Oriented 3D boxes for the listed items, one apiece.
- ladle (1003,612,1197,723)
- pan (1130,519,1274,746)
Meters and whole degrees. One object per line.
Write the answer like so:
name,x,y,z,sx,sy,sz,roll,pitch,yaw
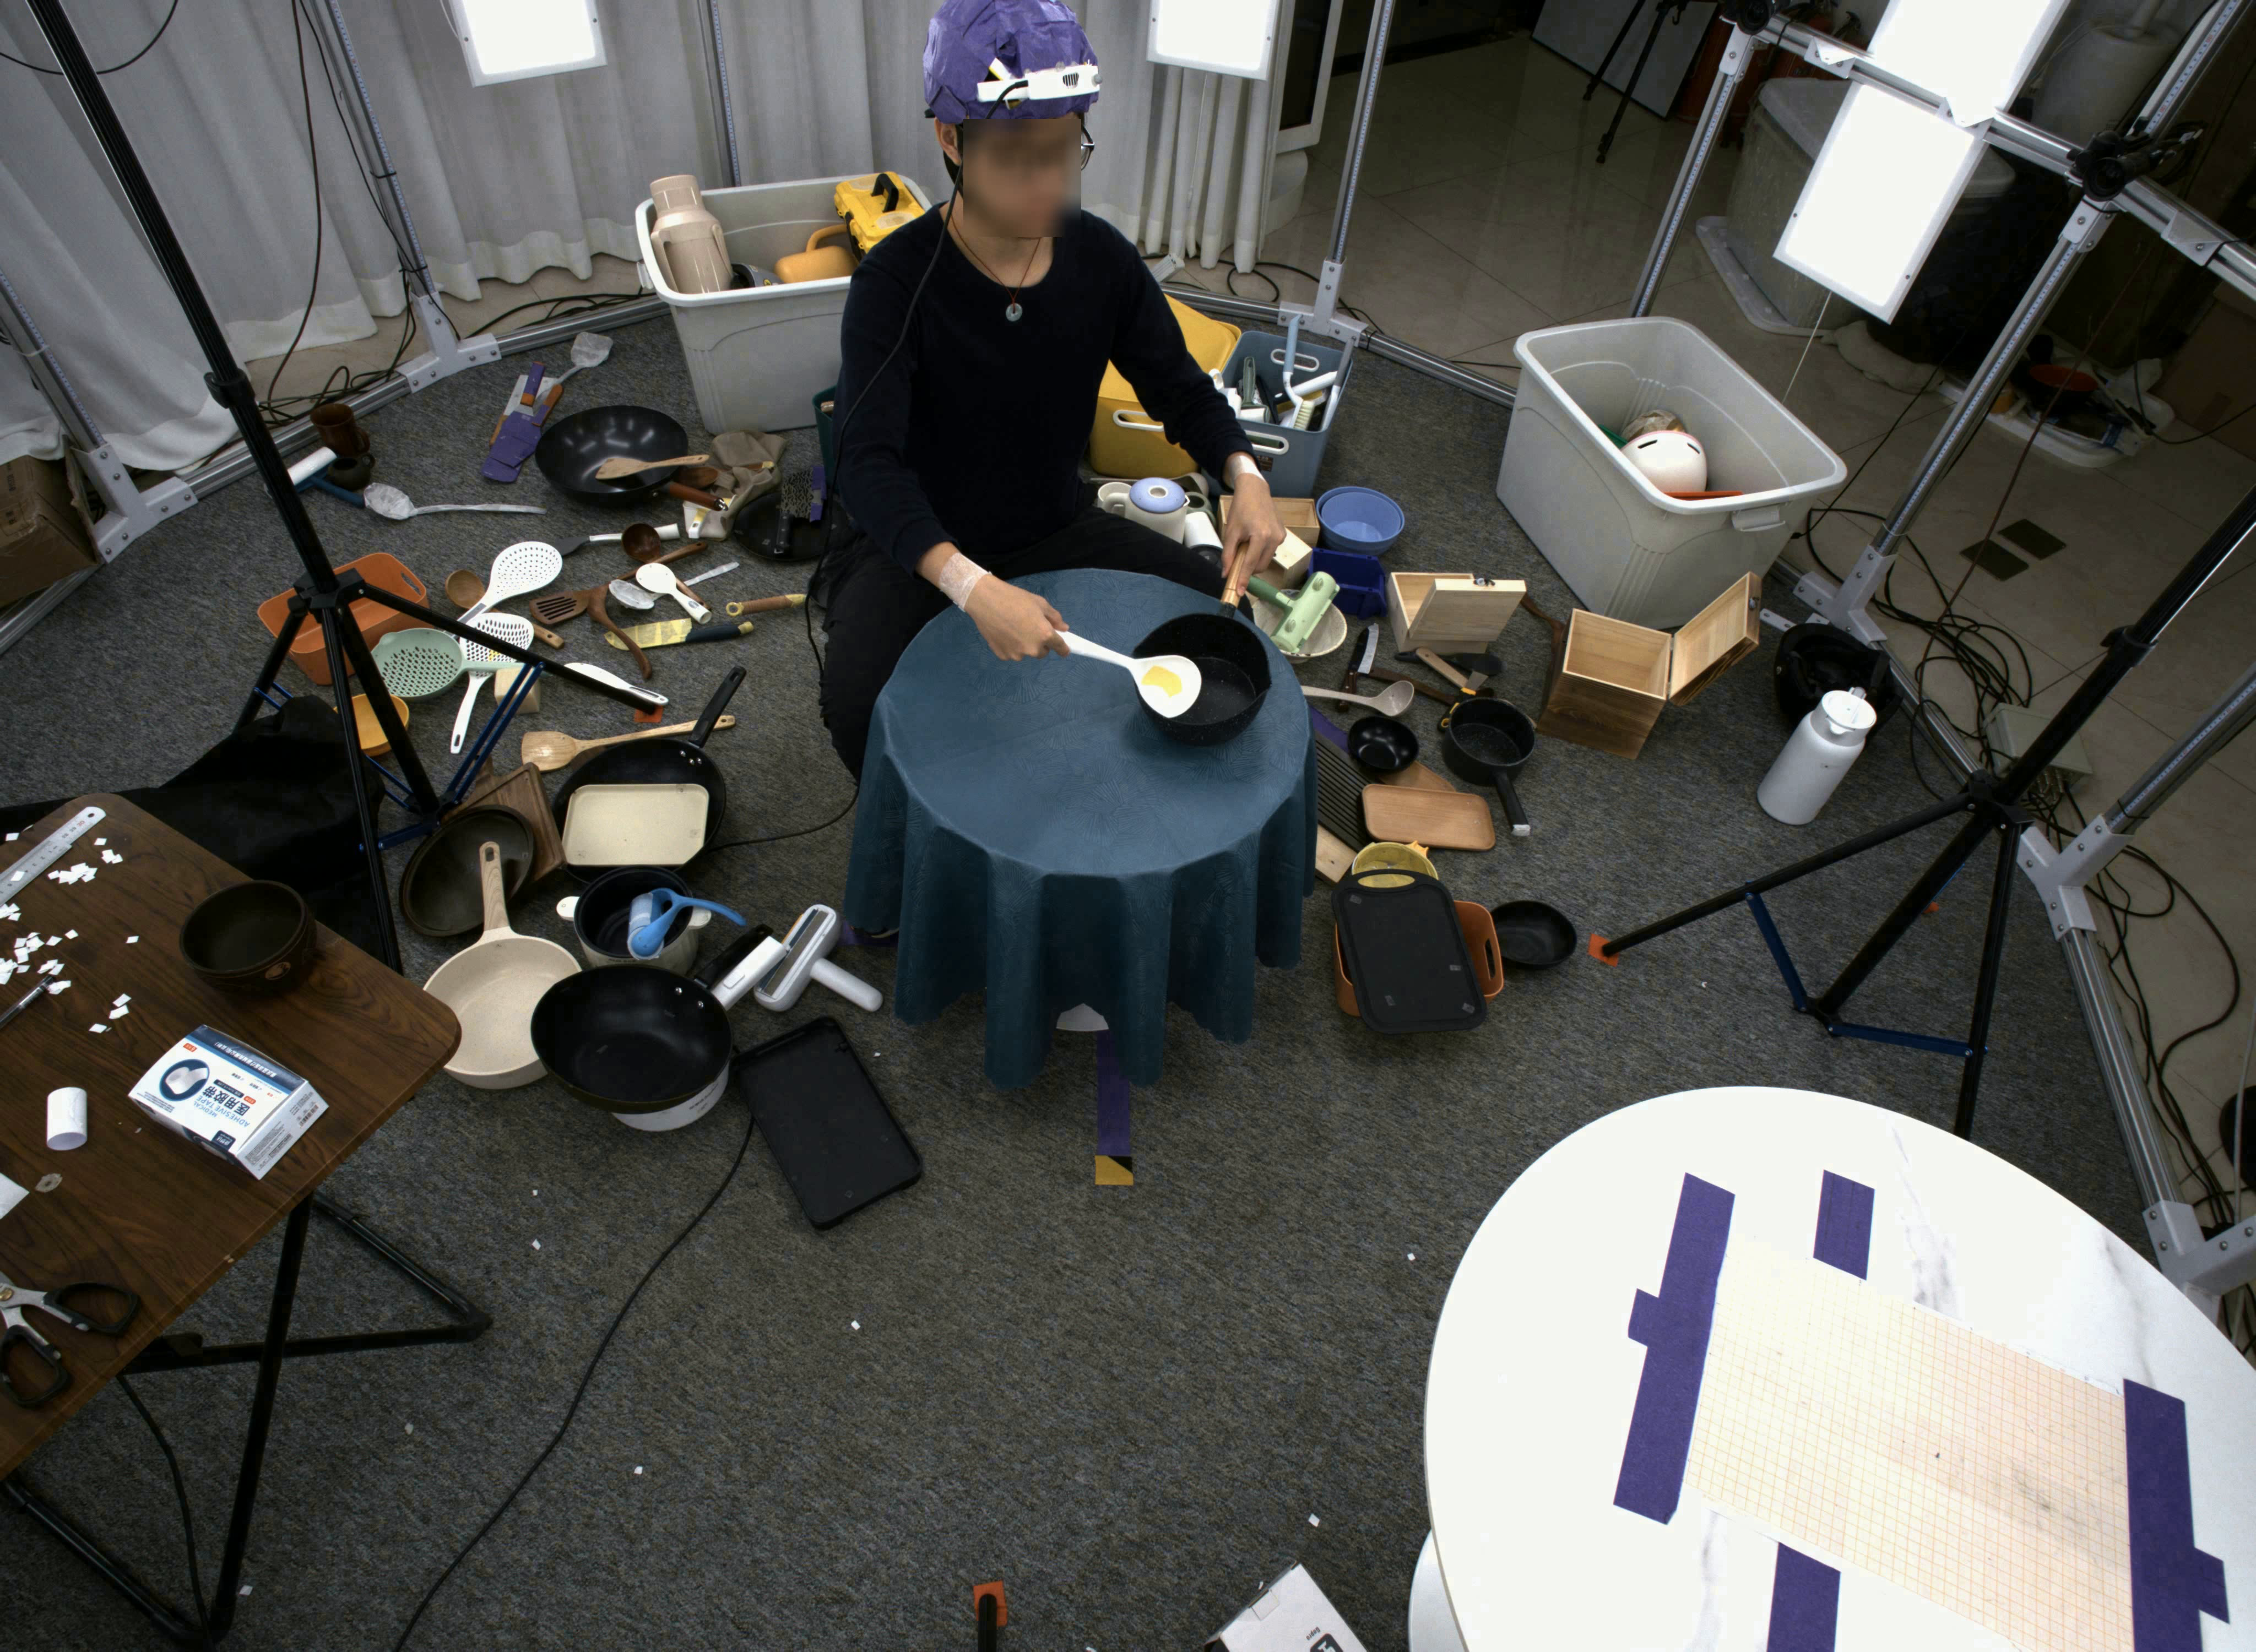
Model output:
ladle,-0.034,-0.207,1.665,0.289,0.089,0.071,15,34,-42
pan,0.126,-0.269,1.797,0.208,0.106,0.348,13,64,15
